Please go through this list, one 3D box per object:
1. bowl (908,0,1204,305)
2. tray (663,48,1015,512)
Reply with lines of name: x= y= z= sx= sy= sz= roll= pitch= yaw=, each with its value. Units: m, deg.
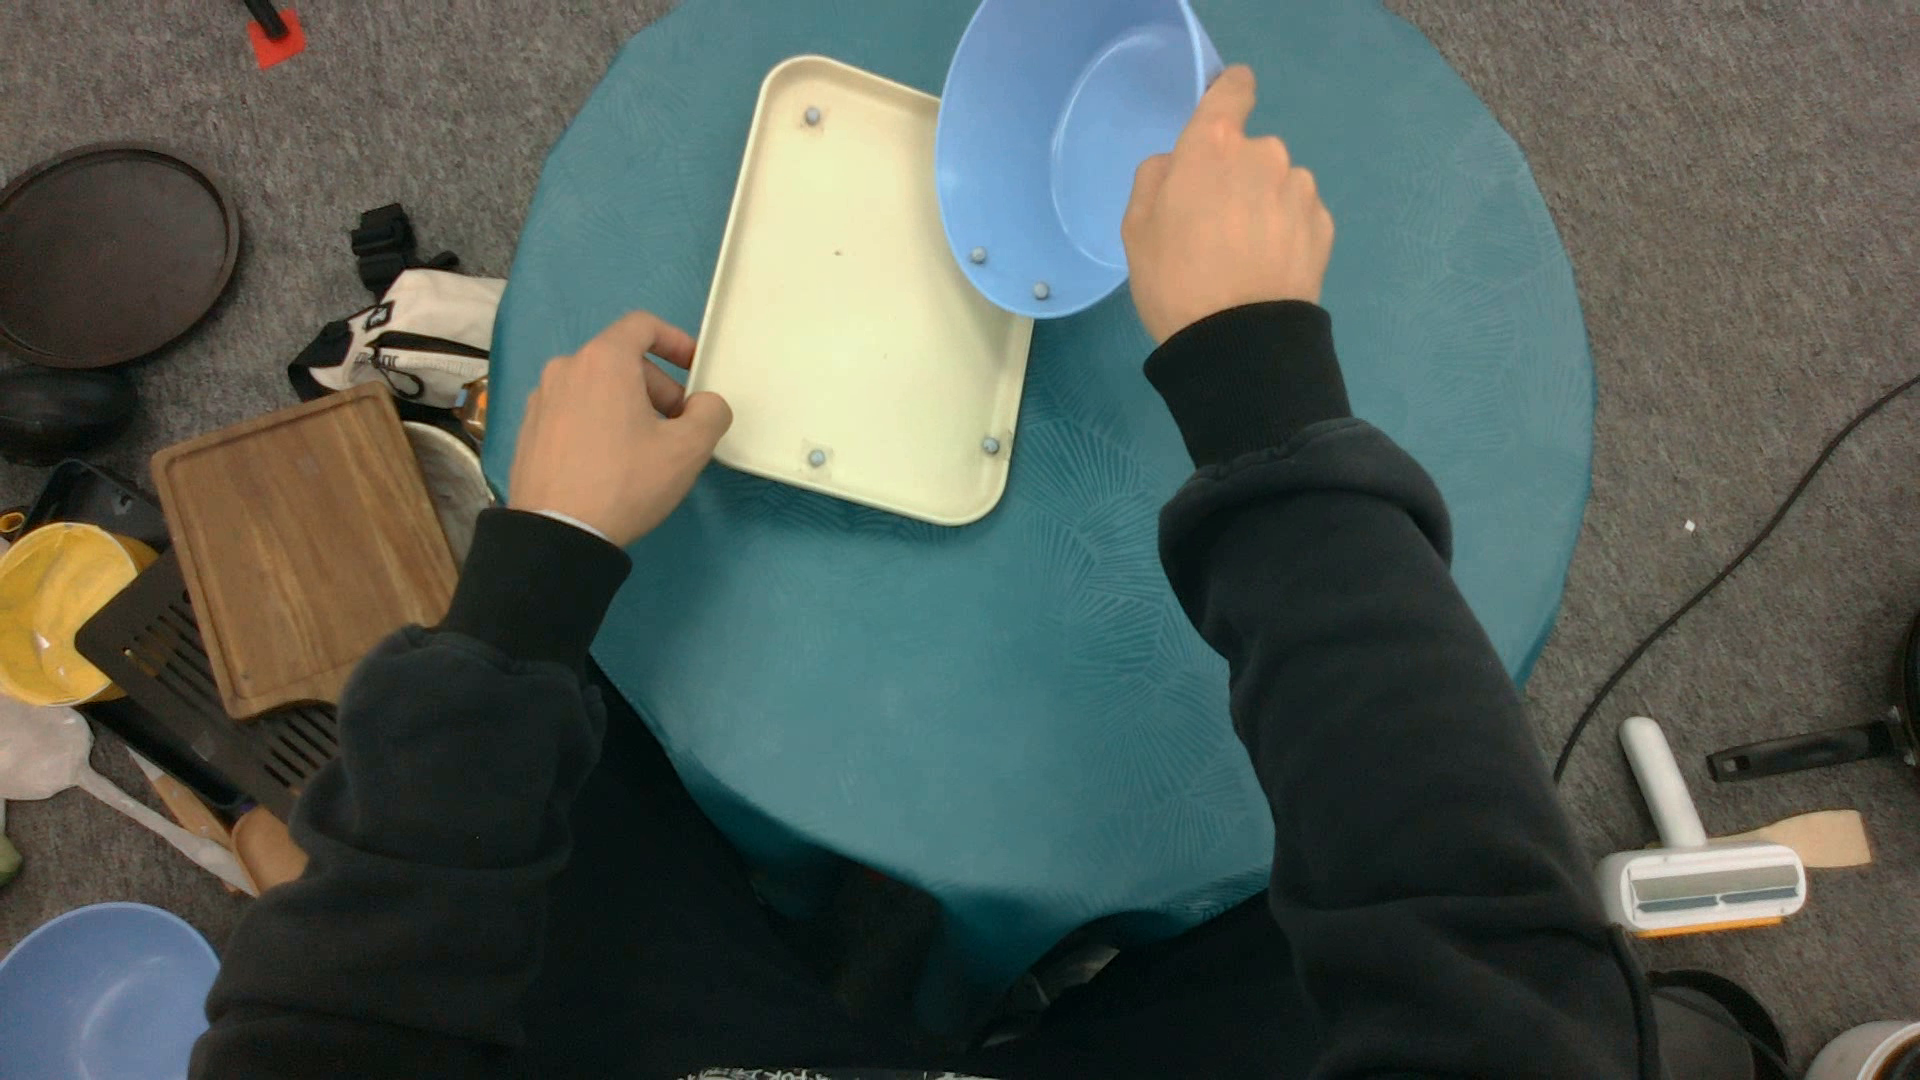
bowl: x=0.055 y=-0.203 z=0.683 sx=0.070 sy=0.175 sz=0.176 roll=-3 pitch=69 yaw=-42
tray: x=-0.054 y=-0.139 z=0.728 sx=0.171 sy=0.017 sz=0.240 roll=15 pitch=71 yaw=-15
